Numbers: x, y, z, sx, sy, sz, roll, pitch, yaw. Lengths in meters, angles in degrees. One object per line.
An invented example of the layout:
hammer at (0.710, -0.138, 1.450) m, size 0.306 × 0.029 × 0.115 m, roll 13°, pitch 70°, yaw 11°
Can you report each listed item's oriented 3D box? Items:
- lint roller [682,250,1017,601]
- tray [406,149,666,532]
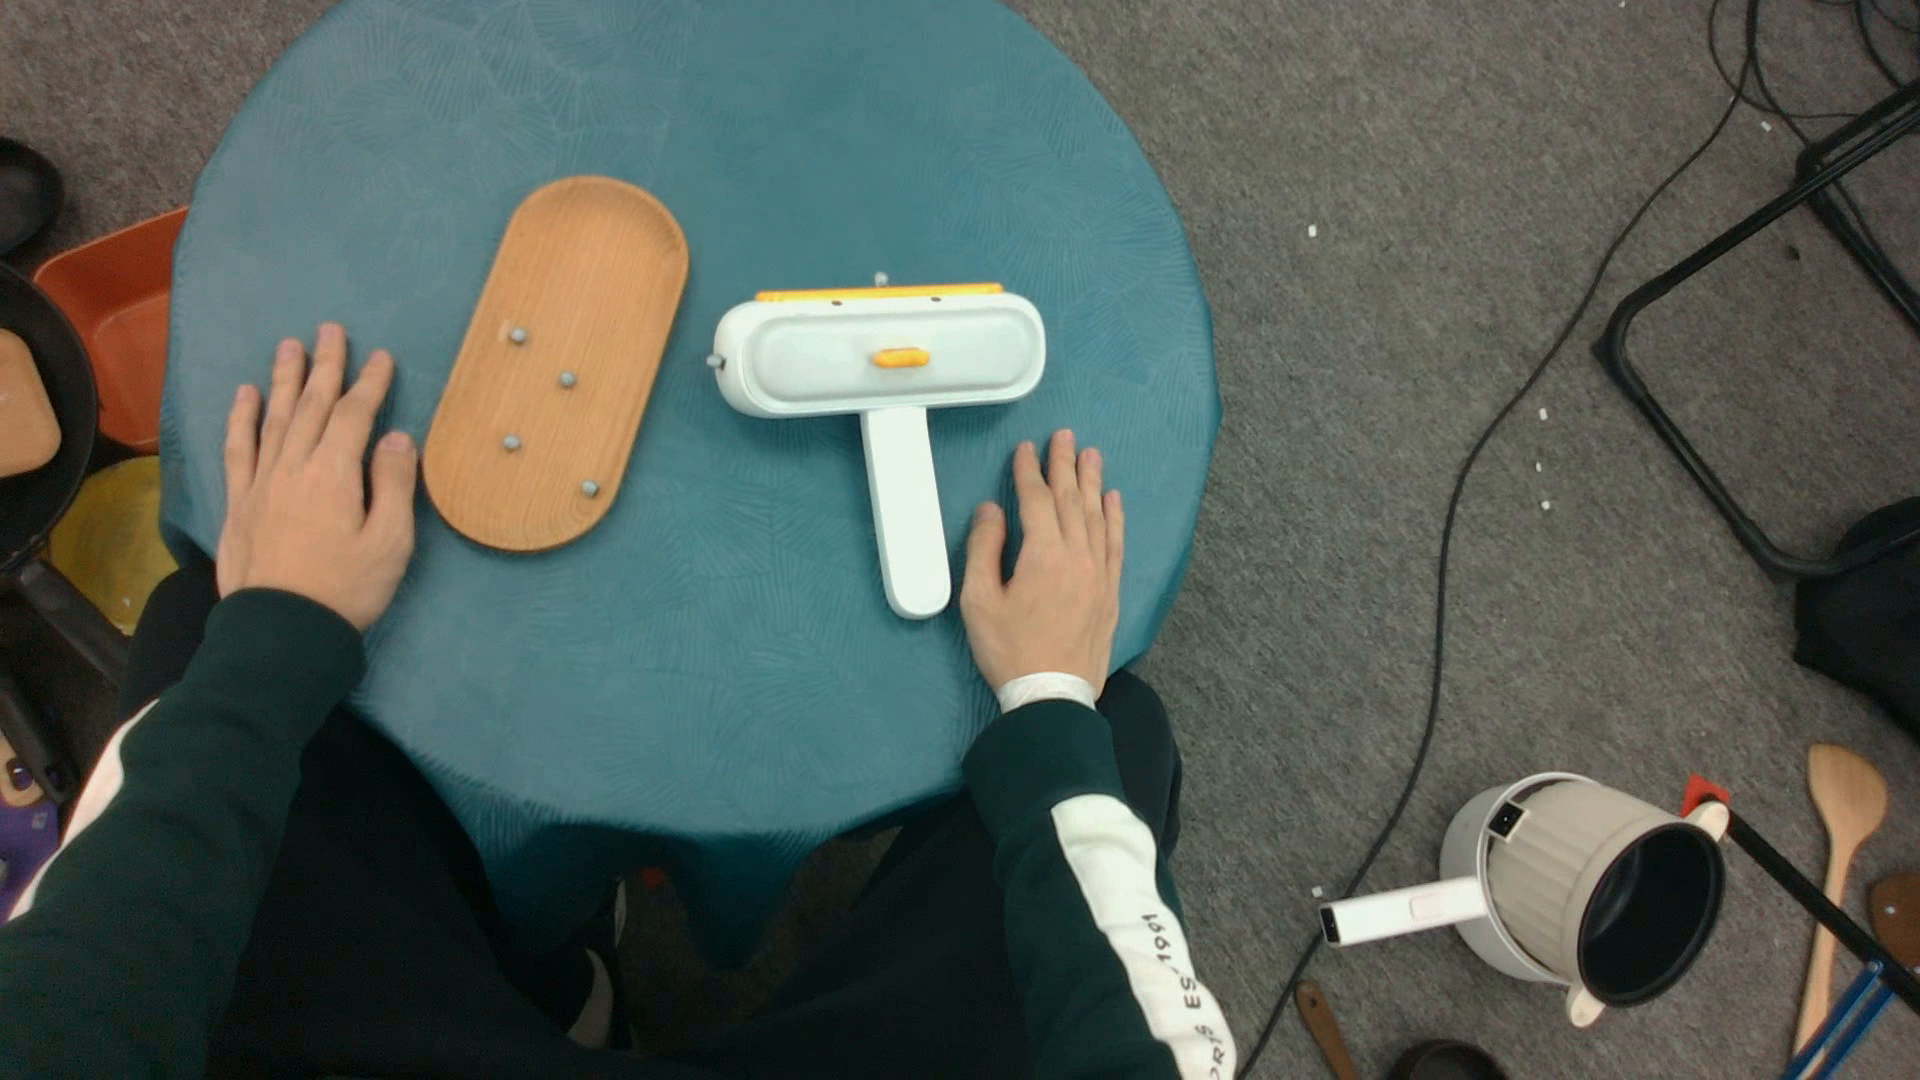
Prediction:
lint roller at (-0.047, -0.061, 0.774) m, size 0.193 × 0.074 × 0.192 m, roll -11°, pitch 96°, yaw -24°
tray at (-0.231, -0.113, 0.760) m, size 0.102 × 0.020 × 0.232 m, roll 15°, pitch 70°, yaw -11°
